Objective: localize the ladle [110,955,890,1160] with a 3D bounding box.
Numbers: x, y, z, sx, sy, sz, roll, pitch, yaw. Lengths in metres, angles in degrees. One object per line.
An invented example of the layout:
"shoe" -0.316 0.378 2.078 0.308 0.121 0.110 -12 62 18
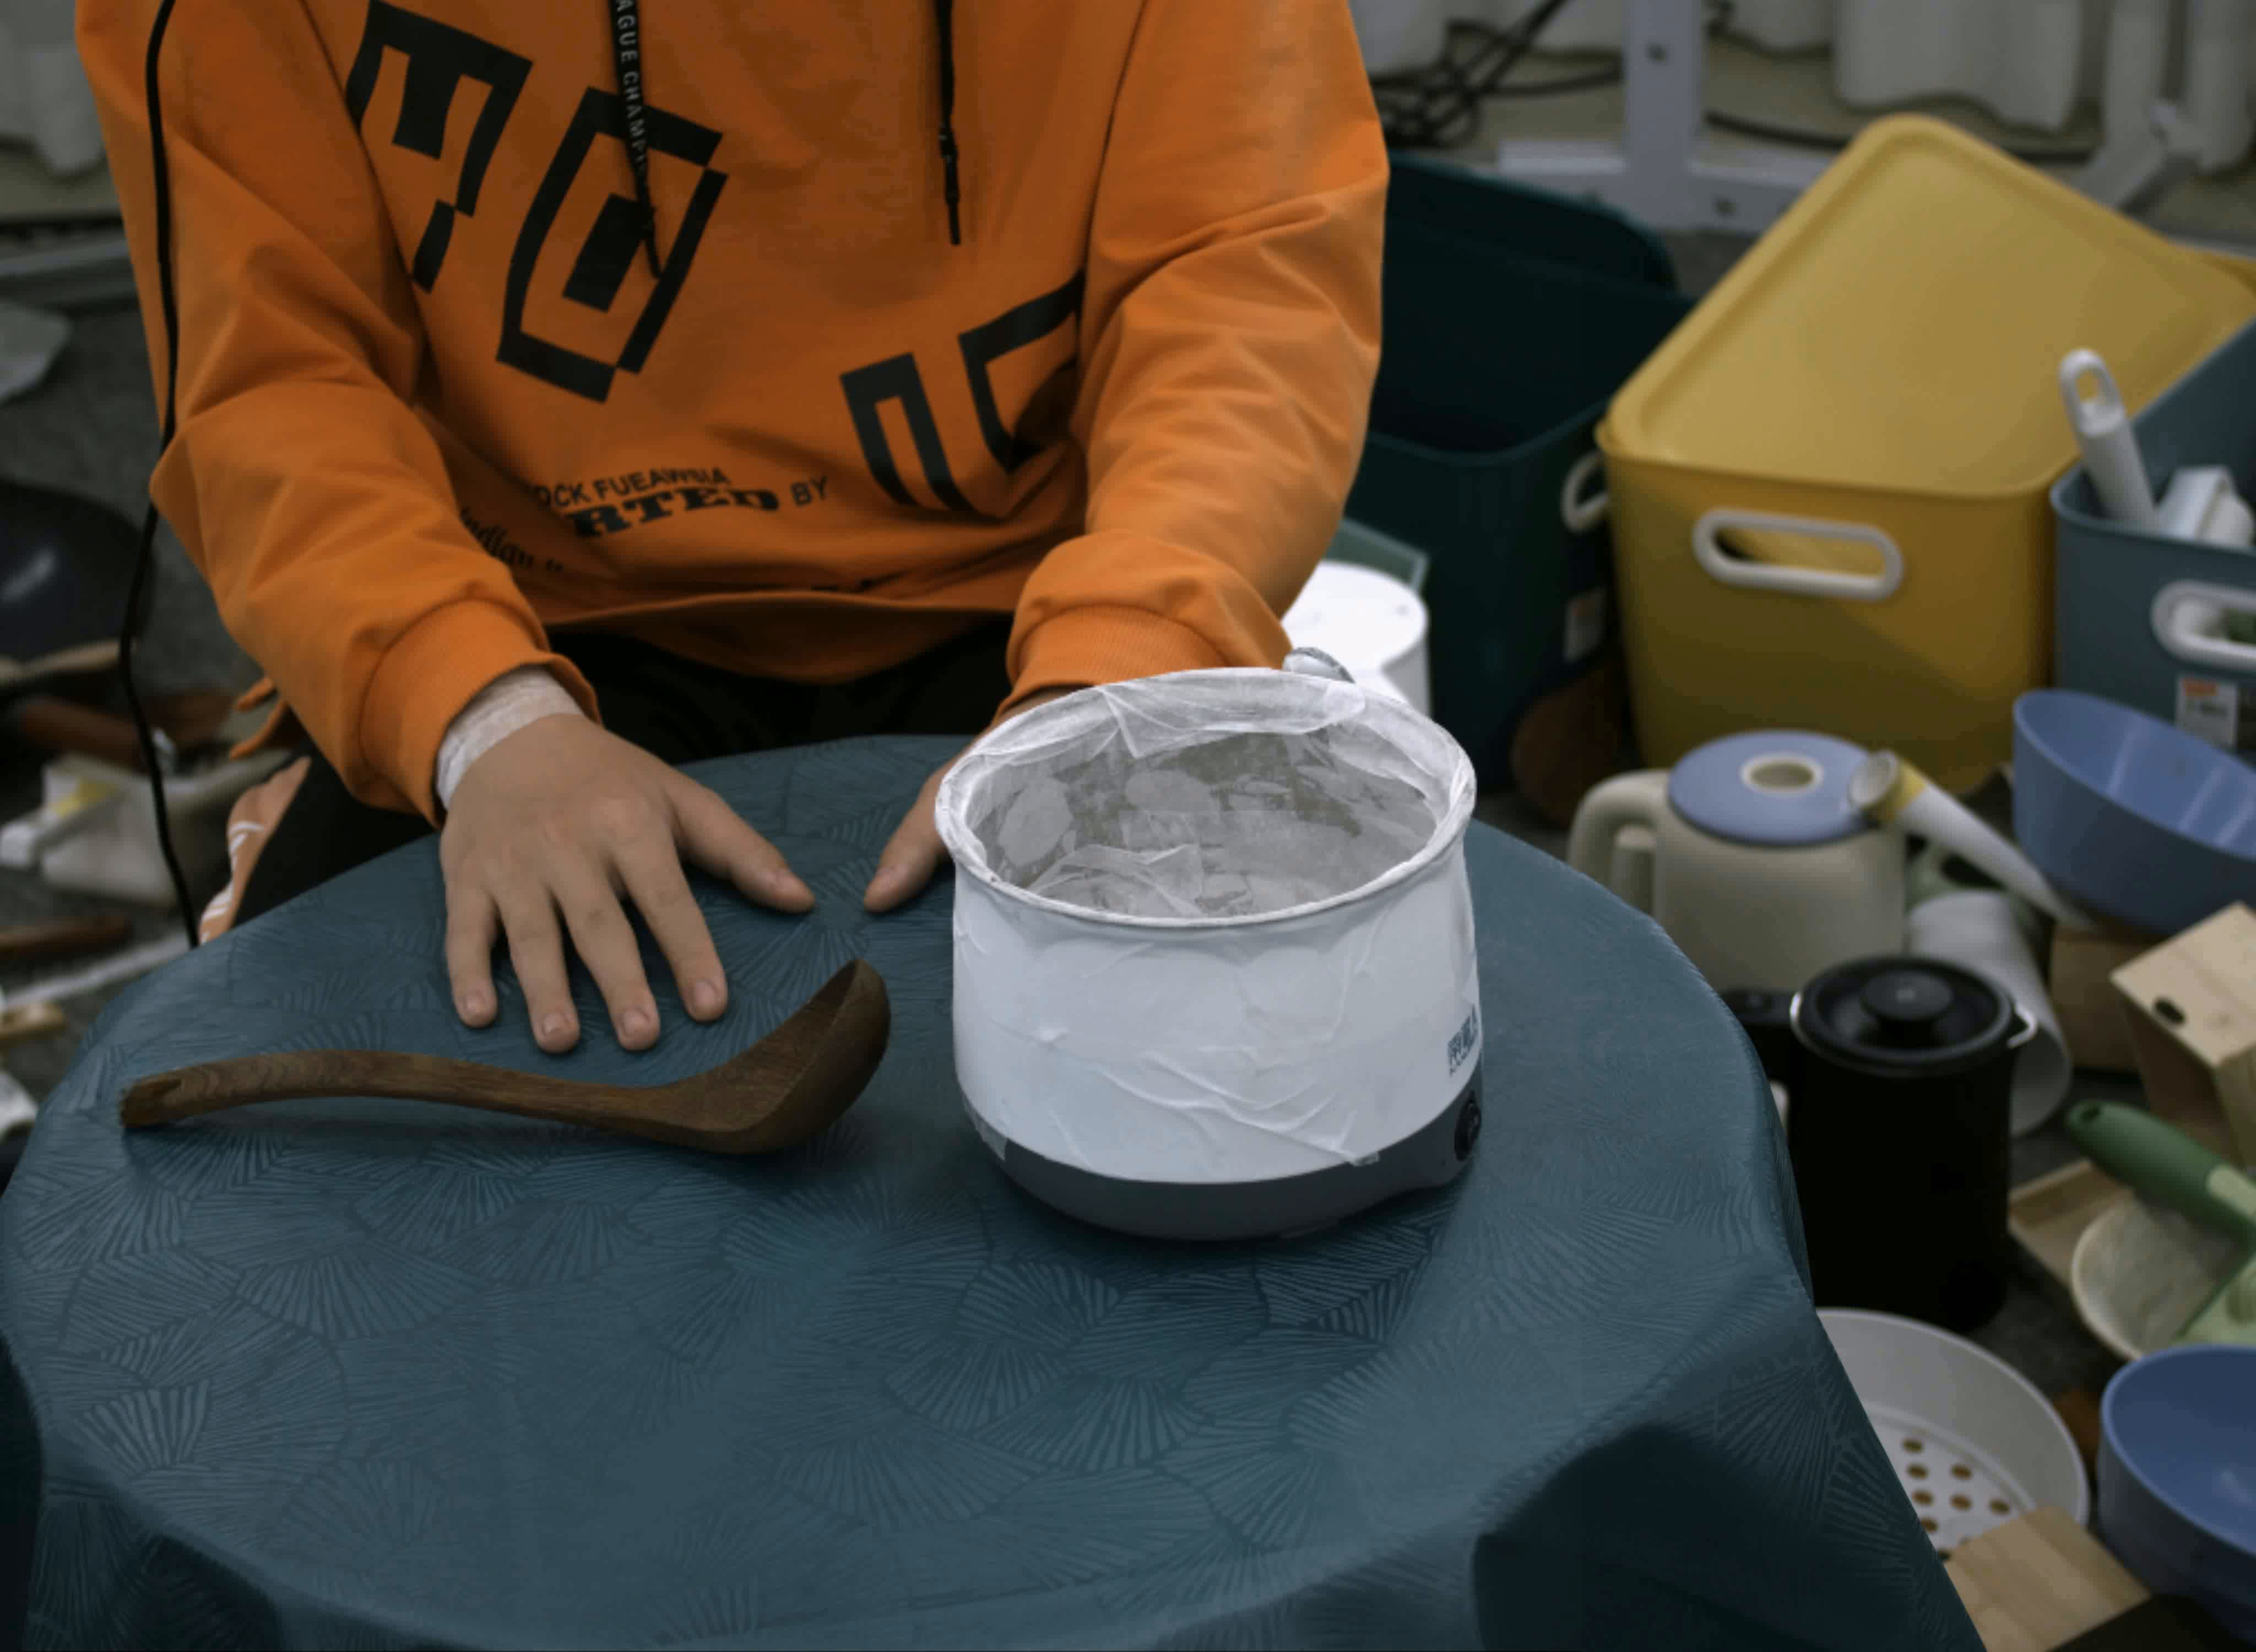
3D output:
"ladle" -0.215 0.074 1.900 0.272 0.070 0.077 2 25 8

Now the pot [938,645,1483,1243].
"pot" 0.038 0.032 1.884 0.177 0.135 0.238 7 29 18
